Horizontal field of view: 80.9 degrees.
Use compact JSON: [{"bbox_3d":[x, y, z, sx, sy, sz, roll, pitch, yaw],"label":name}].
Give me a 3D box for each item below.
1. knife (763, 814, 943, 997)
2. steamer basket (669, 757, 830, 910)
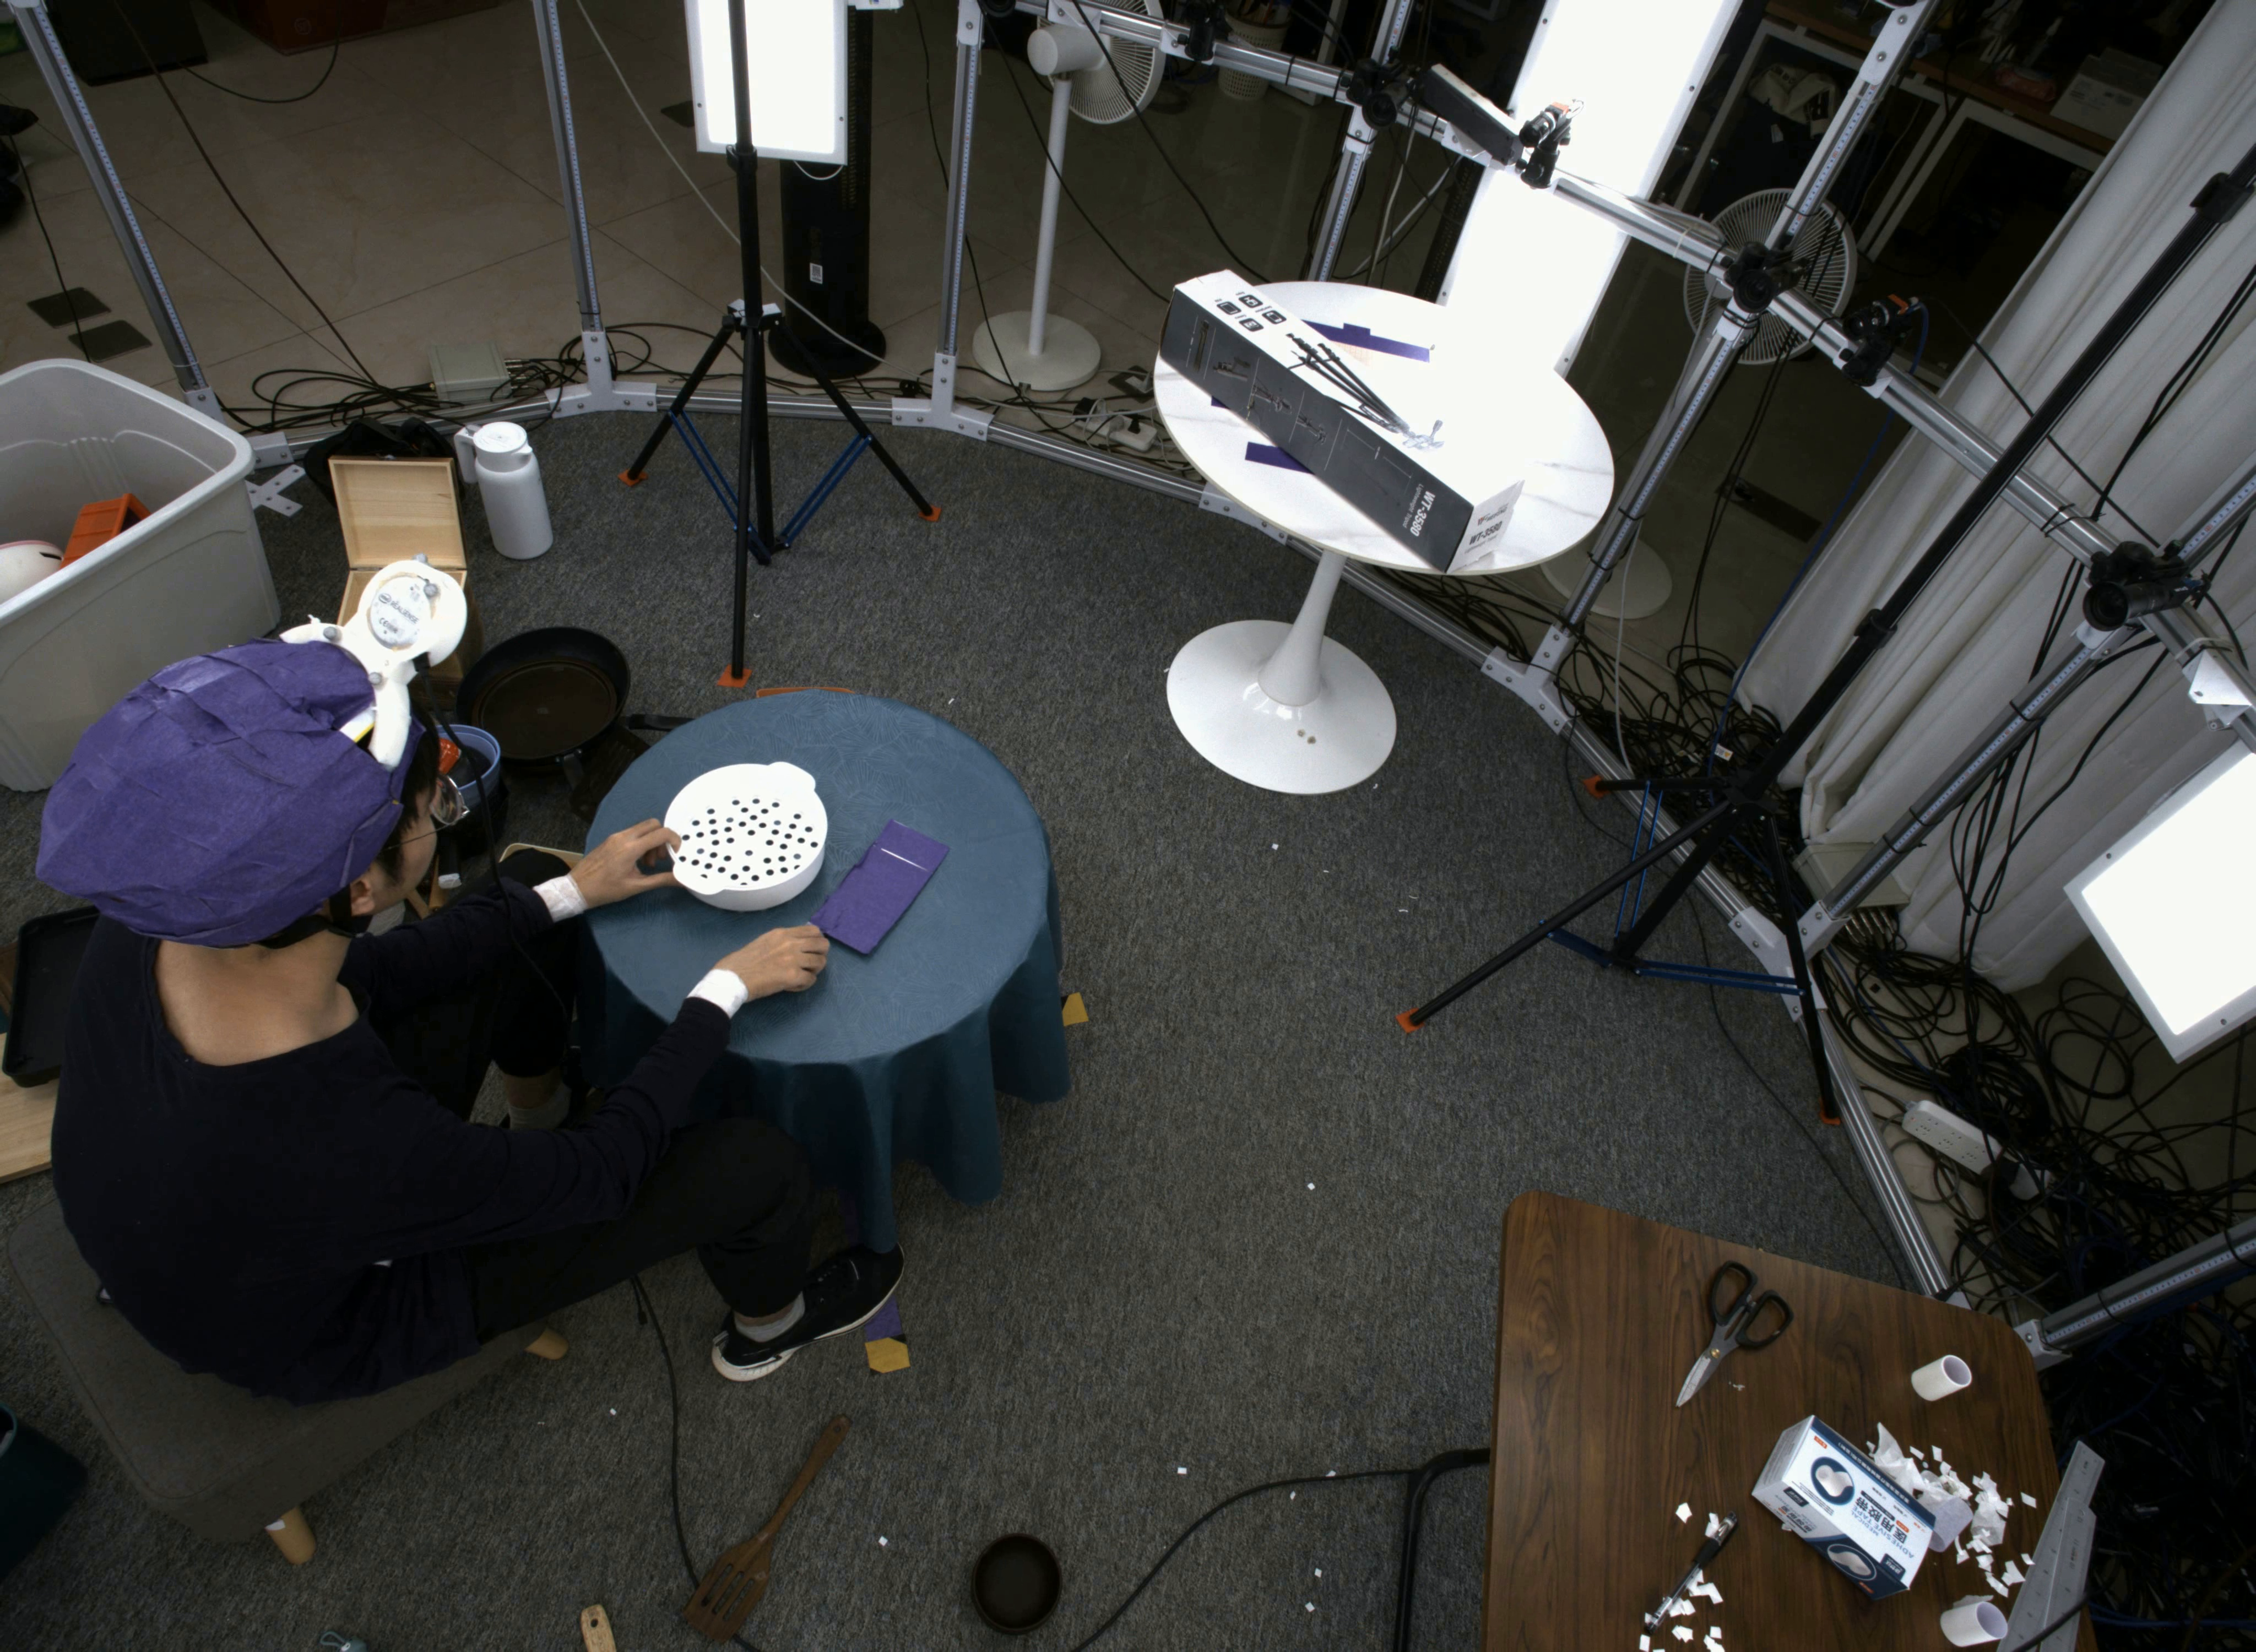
[{"bbox_3d":[-0.342,0.103,1.661,0.102,0.033,0.313,26,51,6],"label":"knife"},{"bbox_3d":[-0.484,0.013,1.669,0.198,0.071,0.229,26,55,8],"label":"steamer basket"}]
